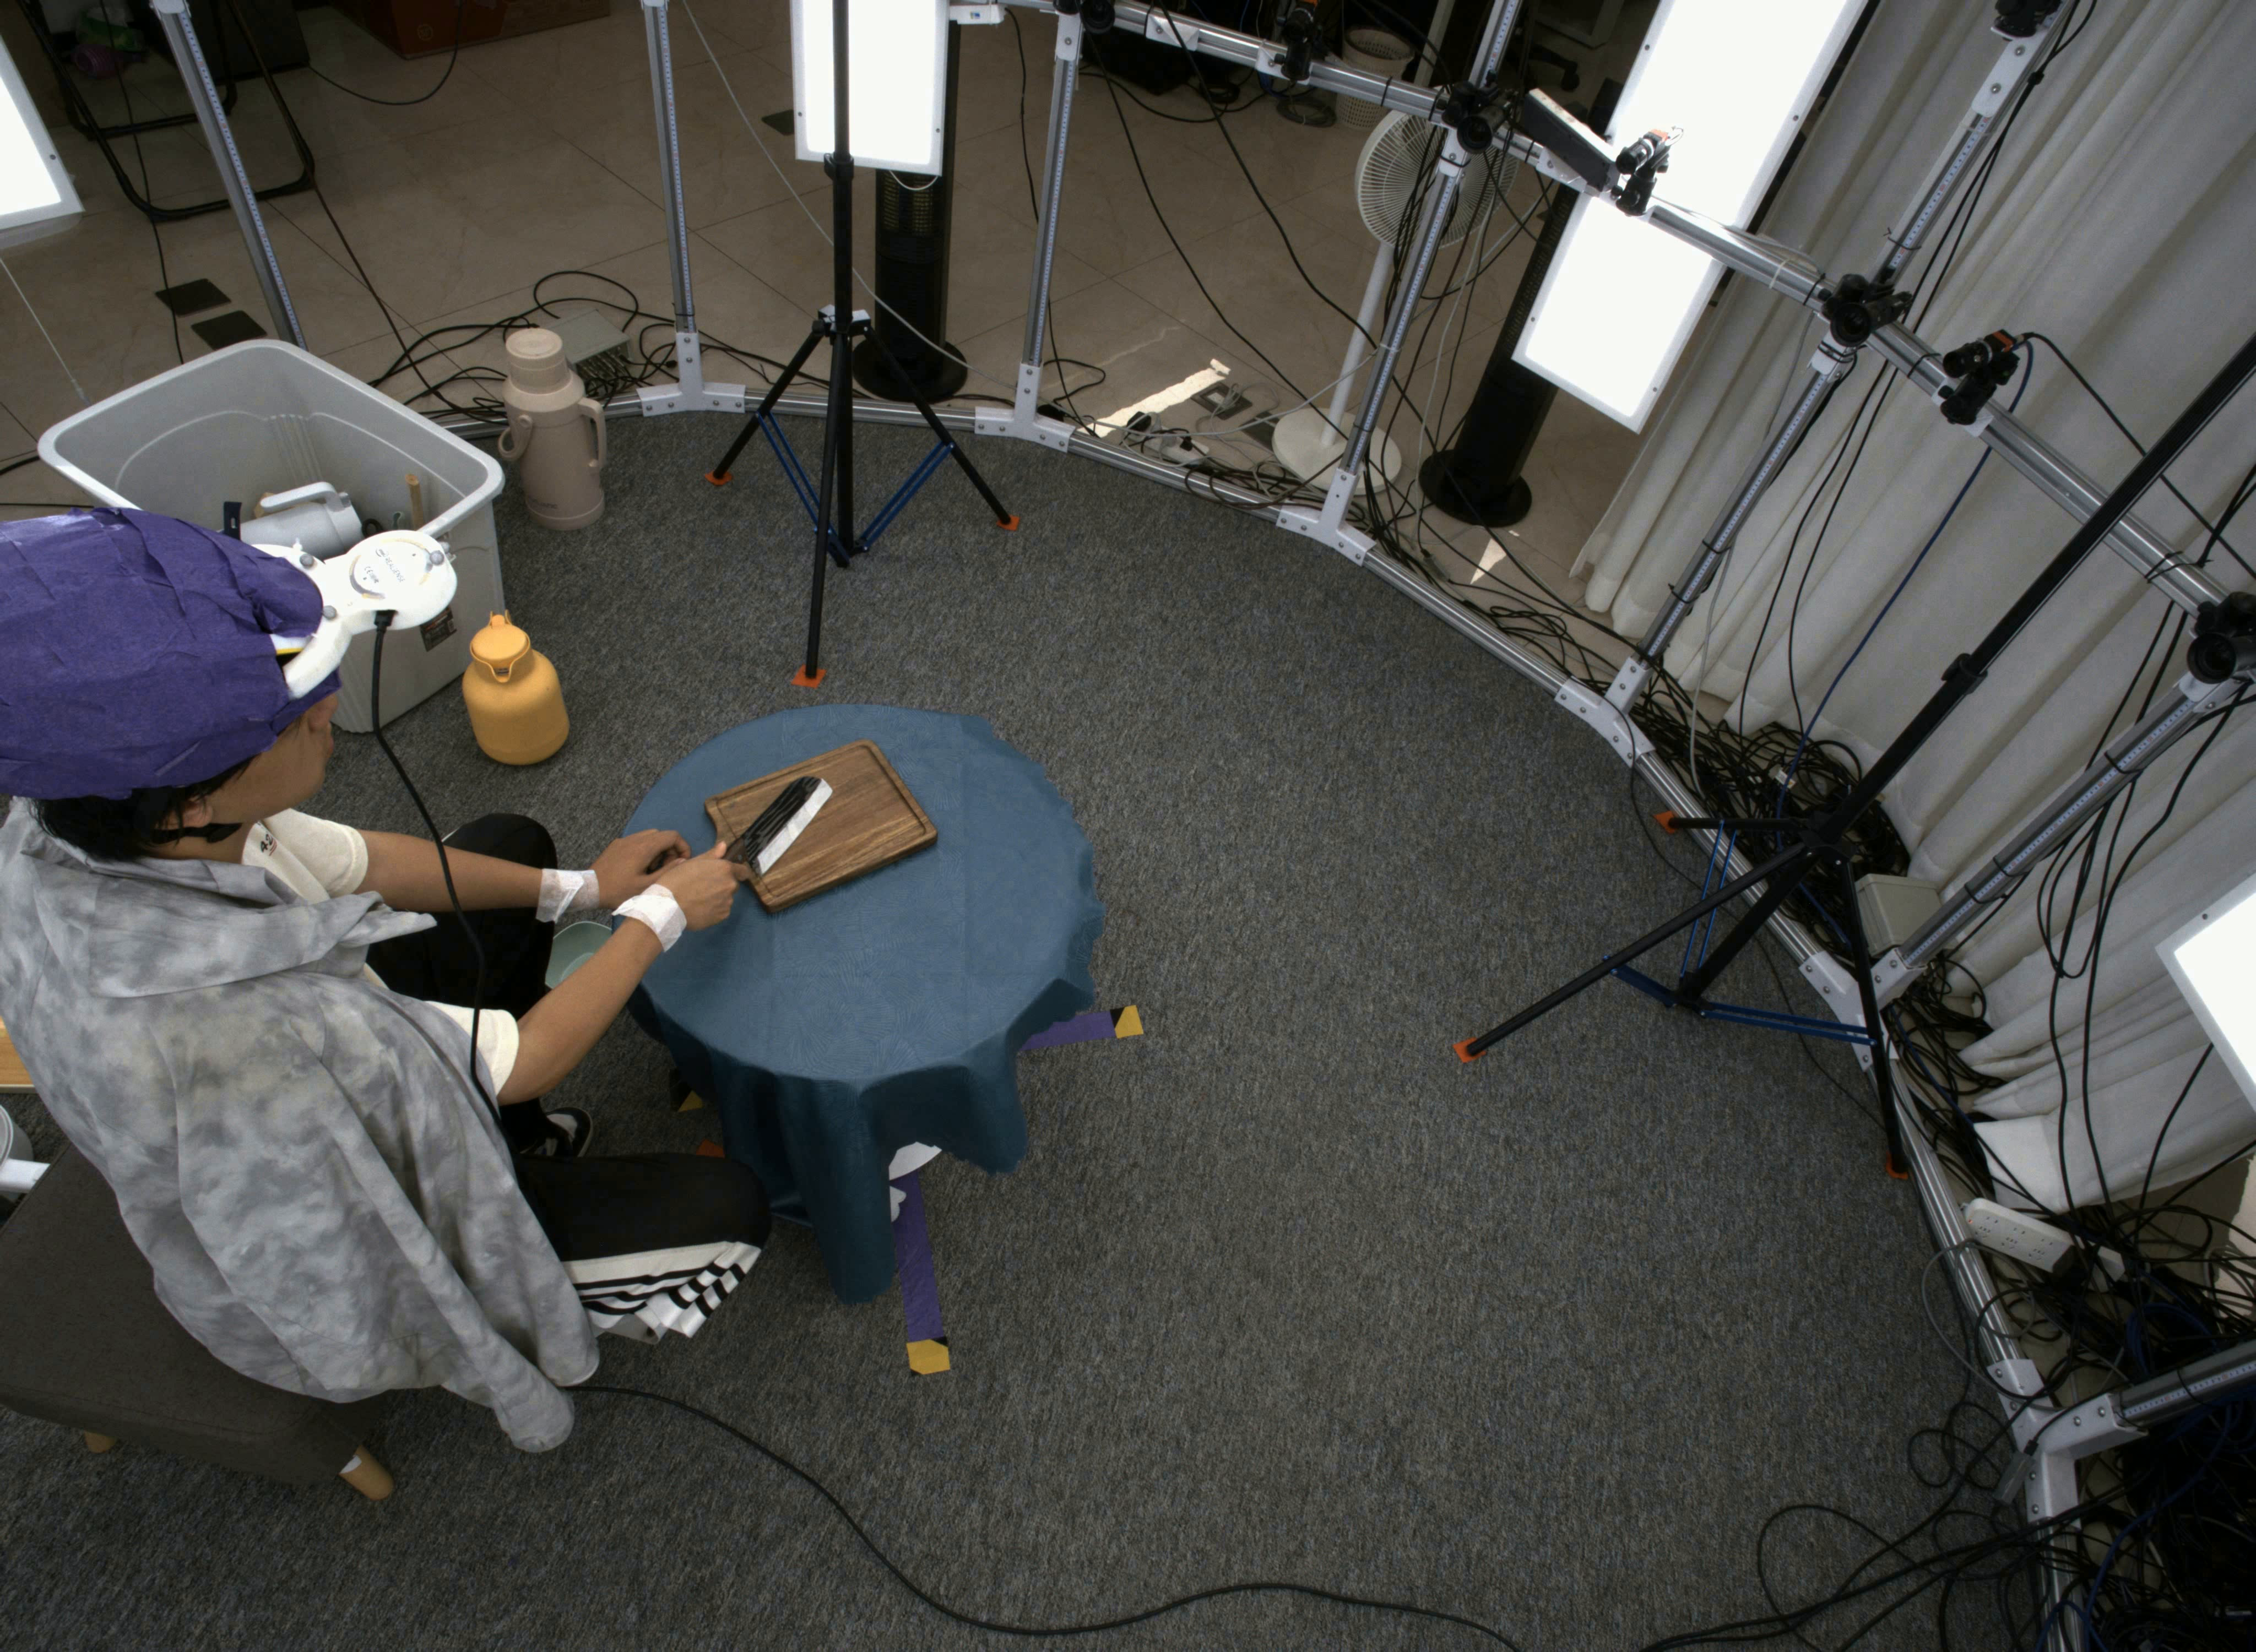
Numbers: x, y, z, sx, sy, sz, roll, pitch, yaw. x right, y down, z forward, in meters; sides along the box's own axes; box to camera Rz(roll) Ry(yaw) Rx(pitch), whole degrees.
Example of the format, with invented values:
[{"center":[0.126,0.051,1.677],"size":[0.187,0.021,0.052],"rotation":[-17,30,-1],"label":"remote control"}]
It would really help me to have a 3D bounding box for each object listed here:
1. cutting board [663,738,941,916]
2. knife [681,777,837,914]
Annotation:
[{"center":[-0.442,0.012,1.699],"size":[0.353,0.023,0.196],"rotation":[-25,63,-28],"label":"cutting board"},{"center":[-0.456,0.025,1.628],"size":[0.023,0.070,0.298],"rotation":[6,40,26],"label":"knife"}]
